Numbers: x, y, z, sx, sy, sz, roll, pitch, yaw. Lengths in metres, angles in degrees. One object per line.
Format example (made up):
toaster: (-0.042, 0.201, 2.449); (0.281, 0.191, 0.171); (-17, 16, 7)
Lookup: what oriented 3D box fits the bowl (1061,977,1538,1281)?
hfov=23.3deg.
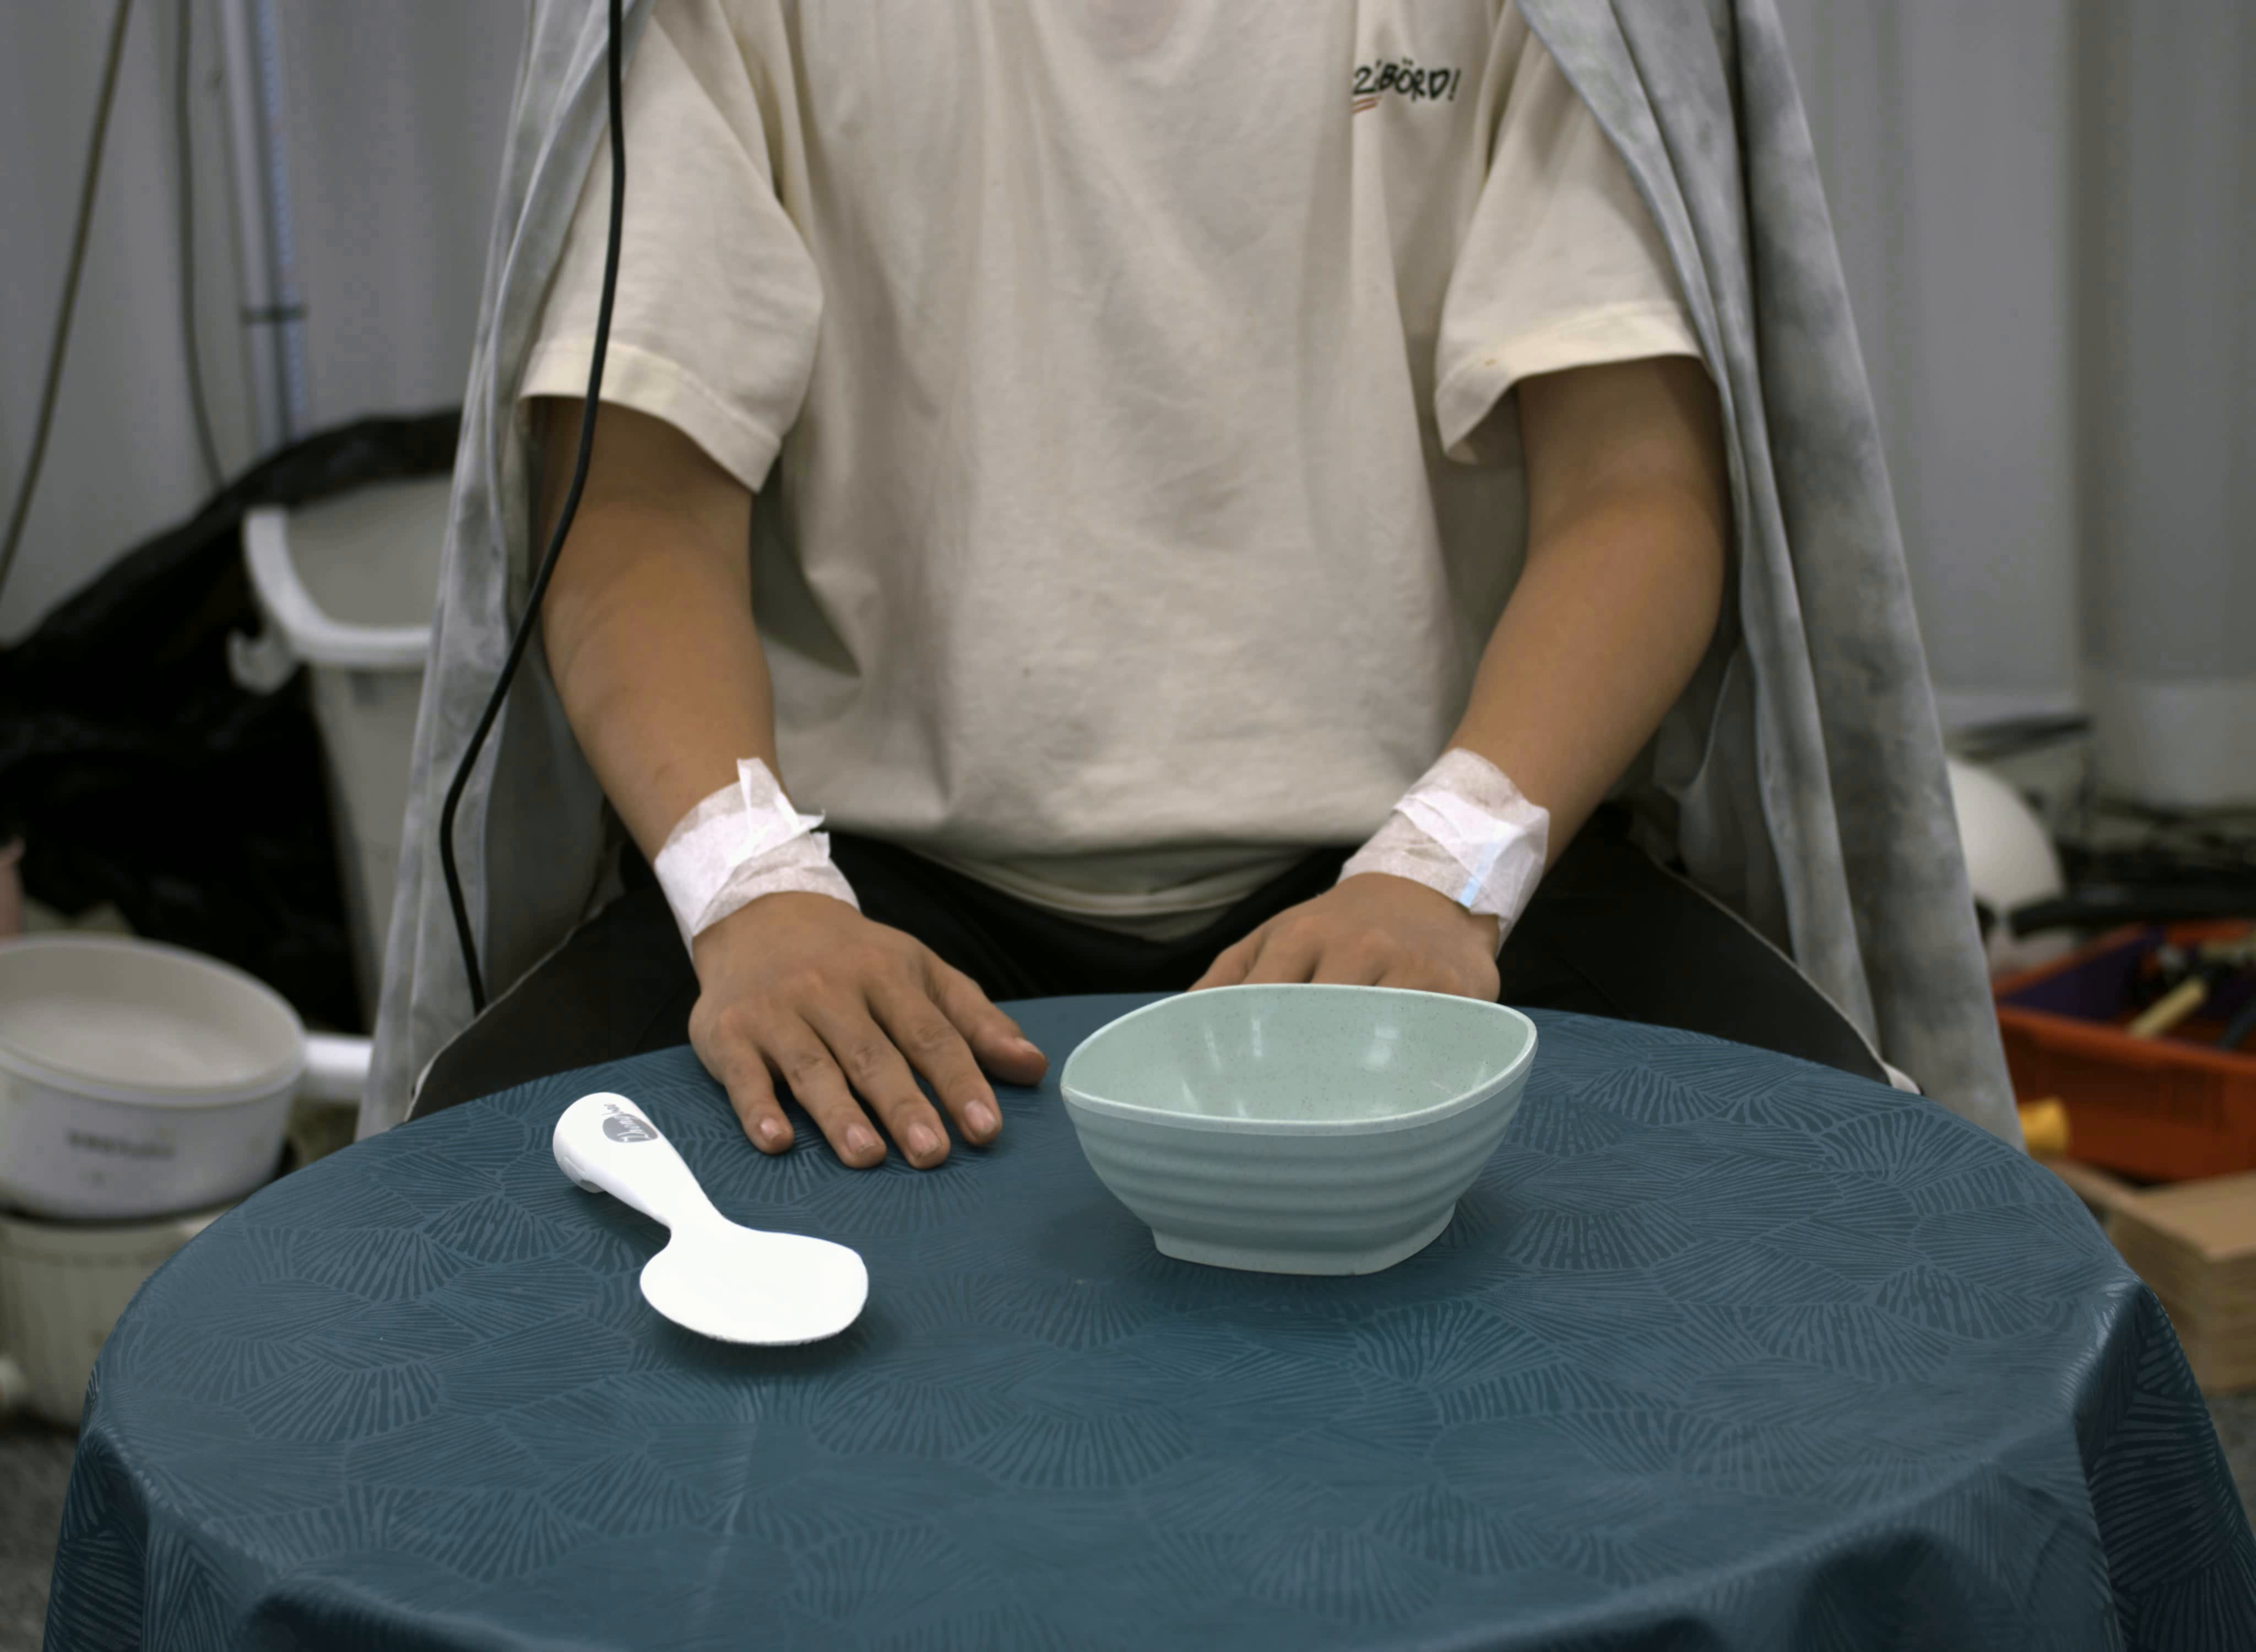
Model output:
bowl: (0.054, 0.096, 1.670); (0.151, 0.058, 0.152); (-4, 17, 1)

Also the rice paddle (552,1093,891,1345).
rice paddle: (-0.129, 0.121, 1.661); (0.068, 0.029, 0.207); (-11, 16, -21)
